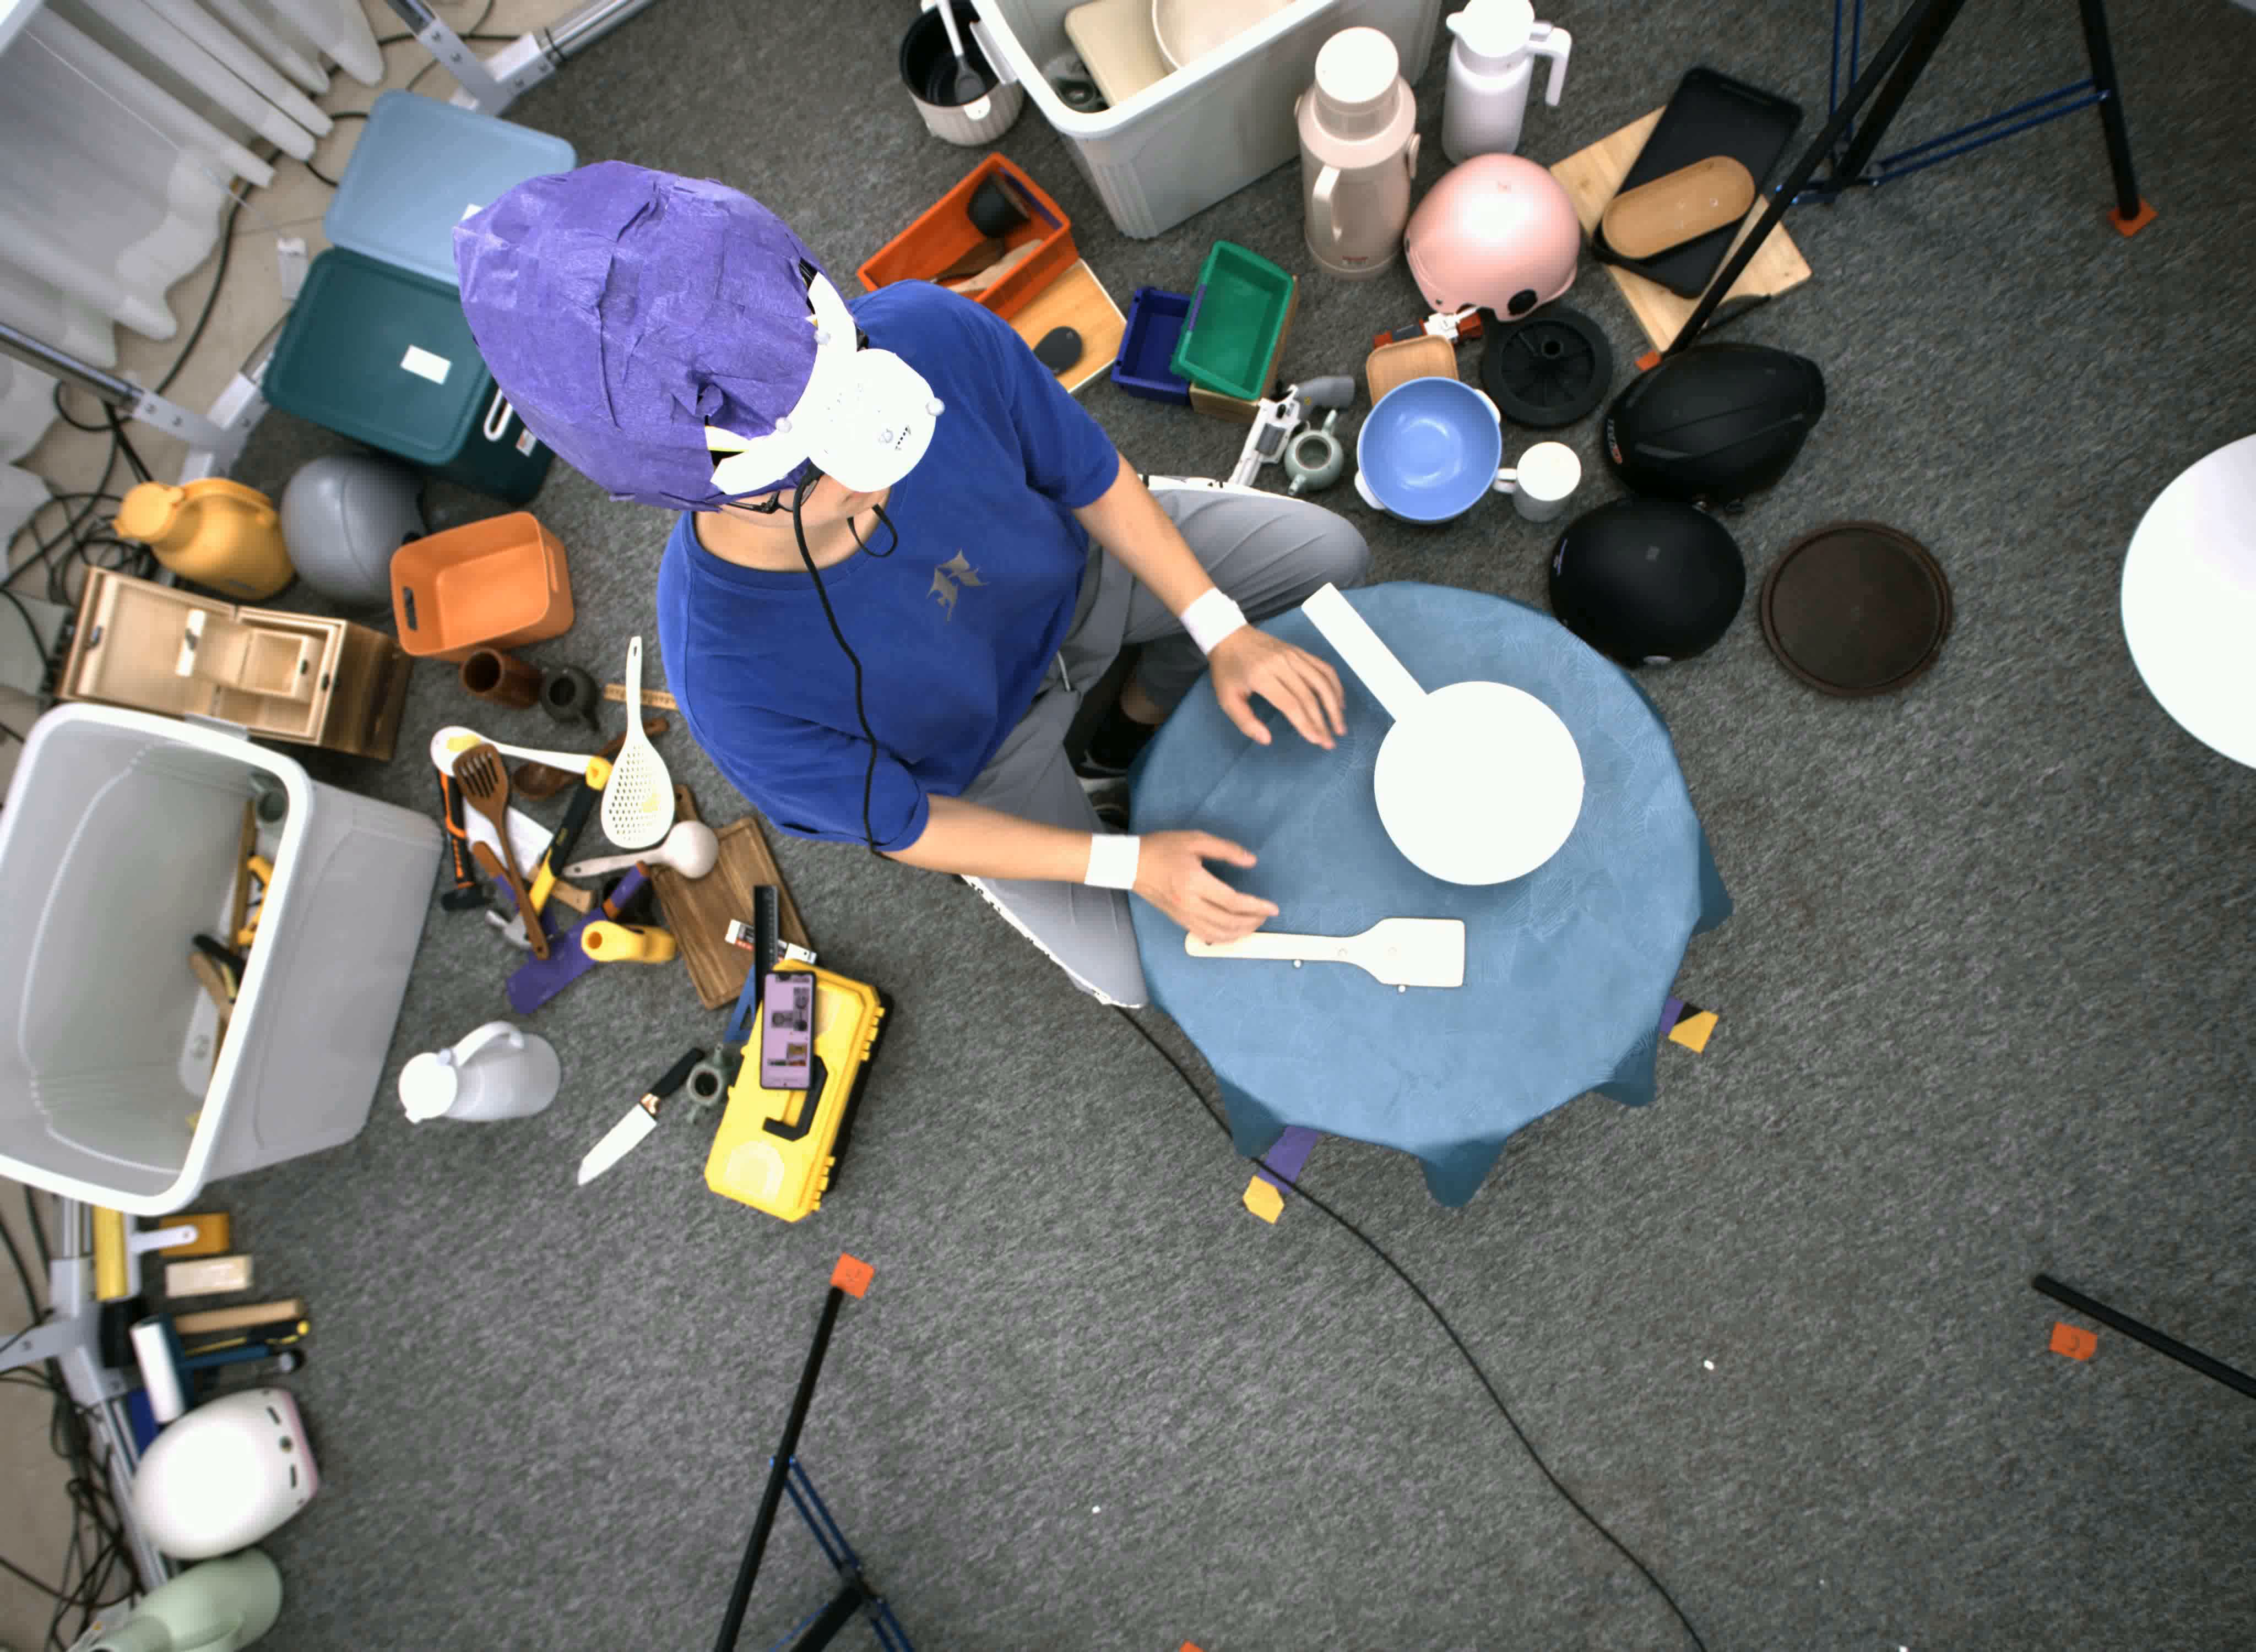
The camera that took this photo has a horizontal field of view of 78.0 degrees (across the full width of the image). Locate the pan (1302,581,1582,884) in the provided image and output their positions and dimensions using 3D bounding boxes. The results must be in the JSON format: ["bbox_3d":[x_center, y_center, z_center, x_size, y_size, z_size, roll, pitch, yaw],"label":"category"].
[{"bbox_3d":[0.306,-0.100,1.411,0.202,0.102,0.353,-40,81,8],"label":"pan"}]

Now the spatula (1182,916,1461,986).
[{"bbox_3d":[0.202,0.127,1.464,0.294,0.010,0.072,1,88,11],"label":"spatula"}]
